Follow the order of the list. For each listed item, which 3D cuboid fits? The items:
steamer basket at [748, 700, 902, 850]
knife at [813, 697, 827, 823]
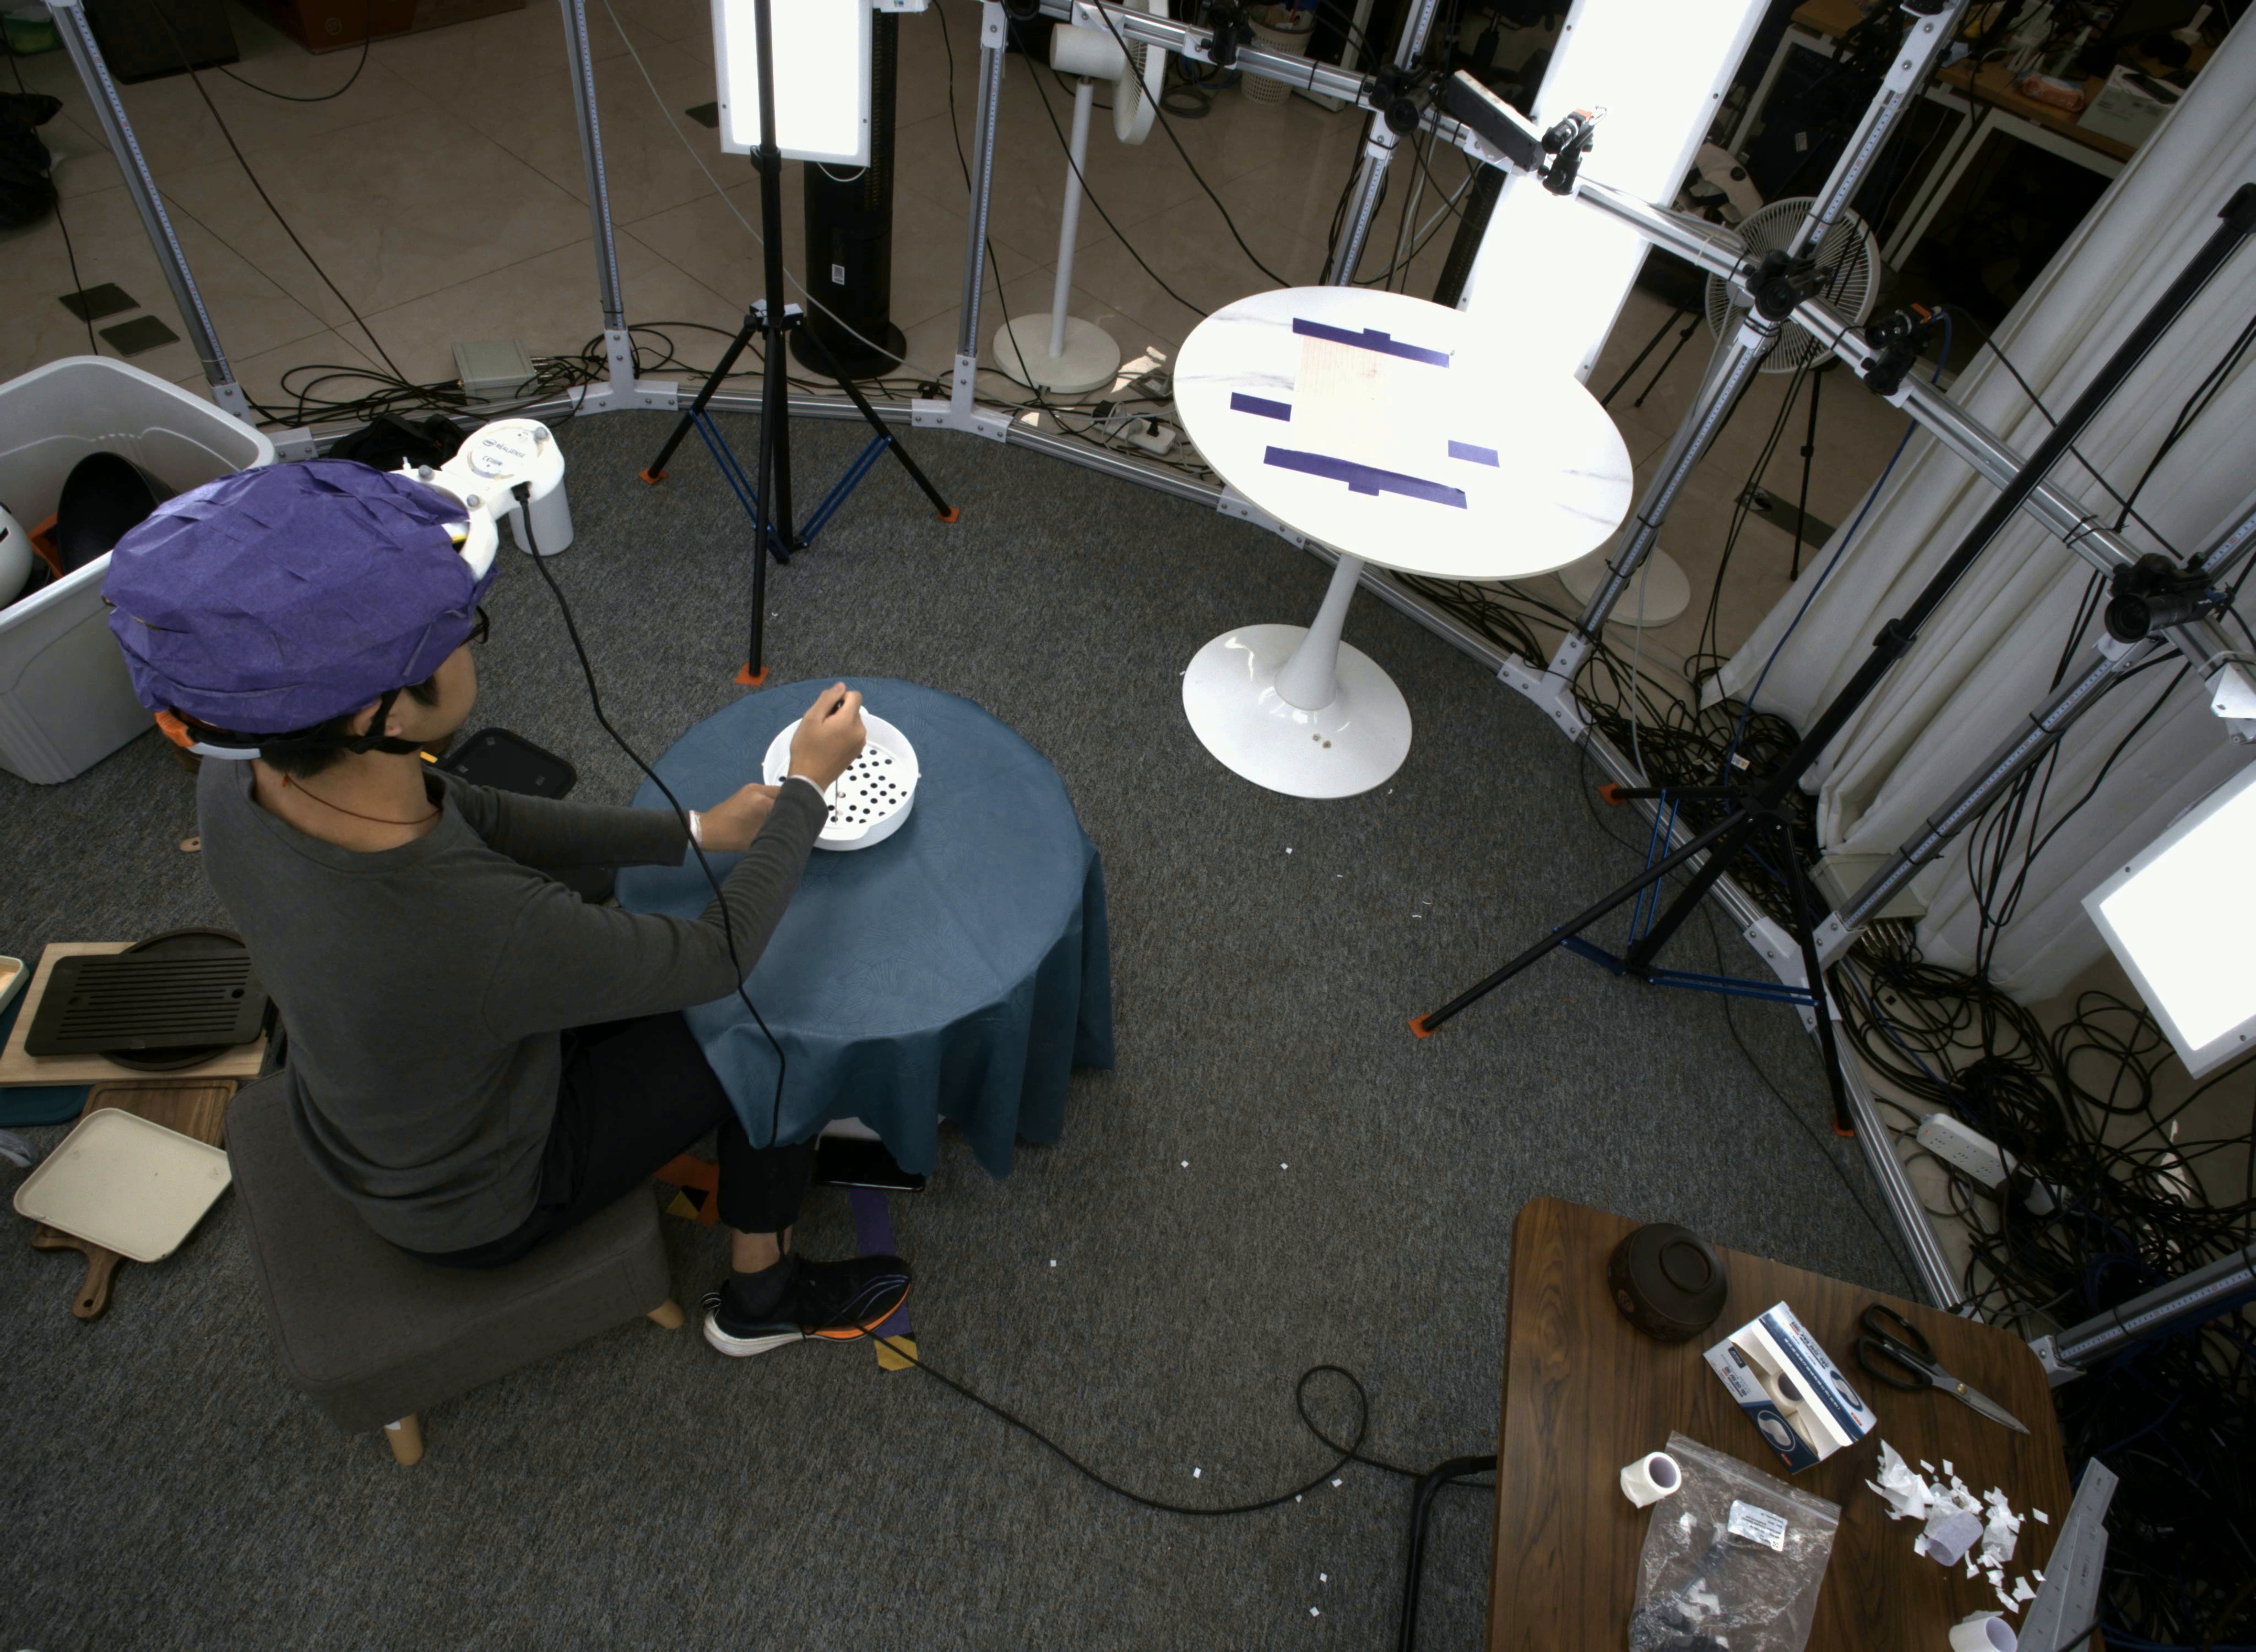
[{"bbox_3d":[-0.404,-0.062,1.740,0.202,0.070,0.226,0,57,-13],"label":"steamer basket"},{"bbox_3d":[-0.383,-0.071,1.613,0.016,0.243,0.024,8,51,-7],"label":"knife"}]
